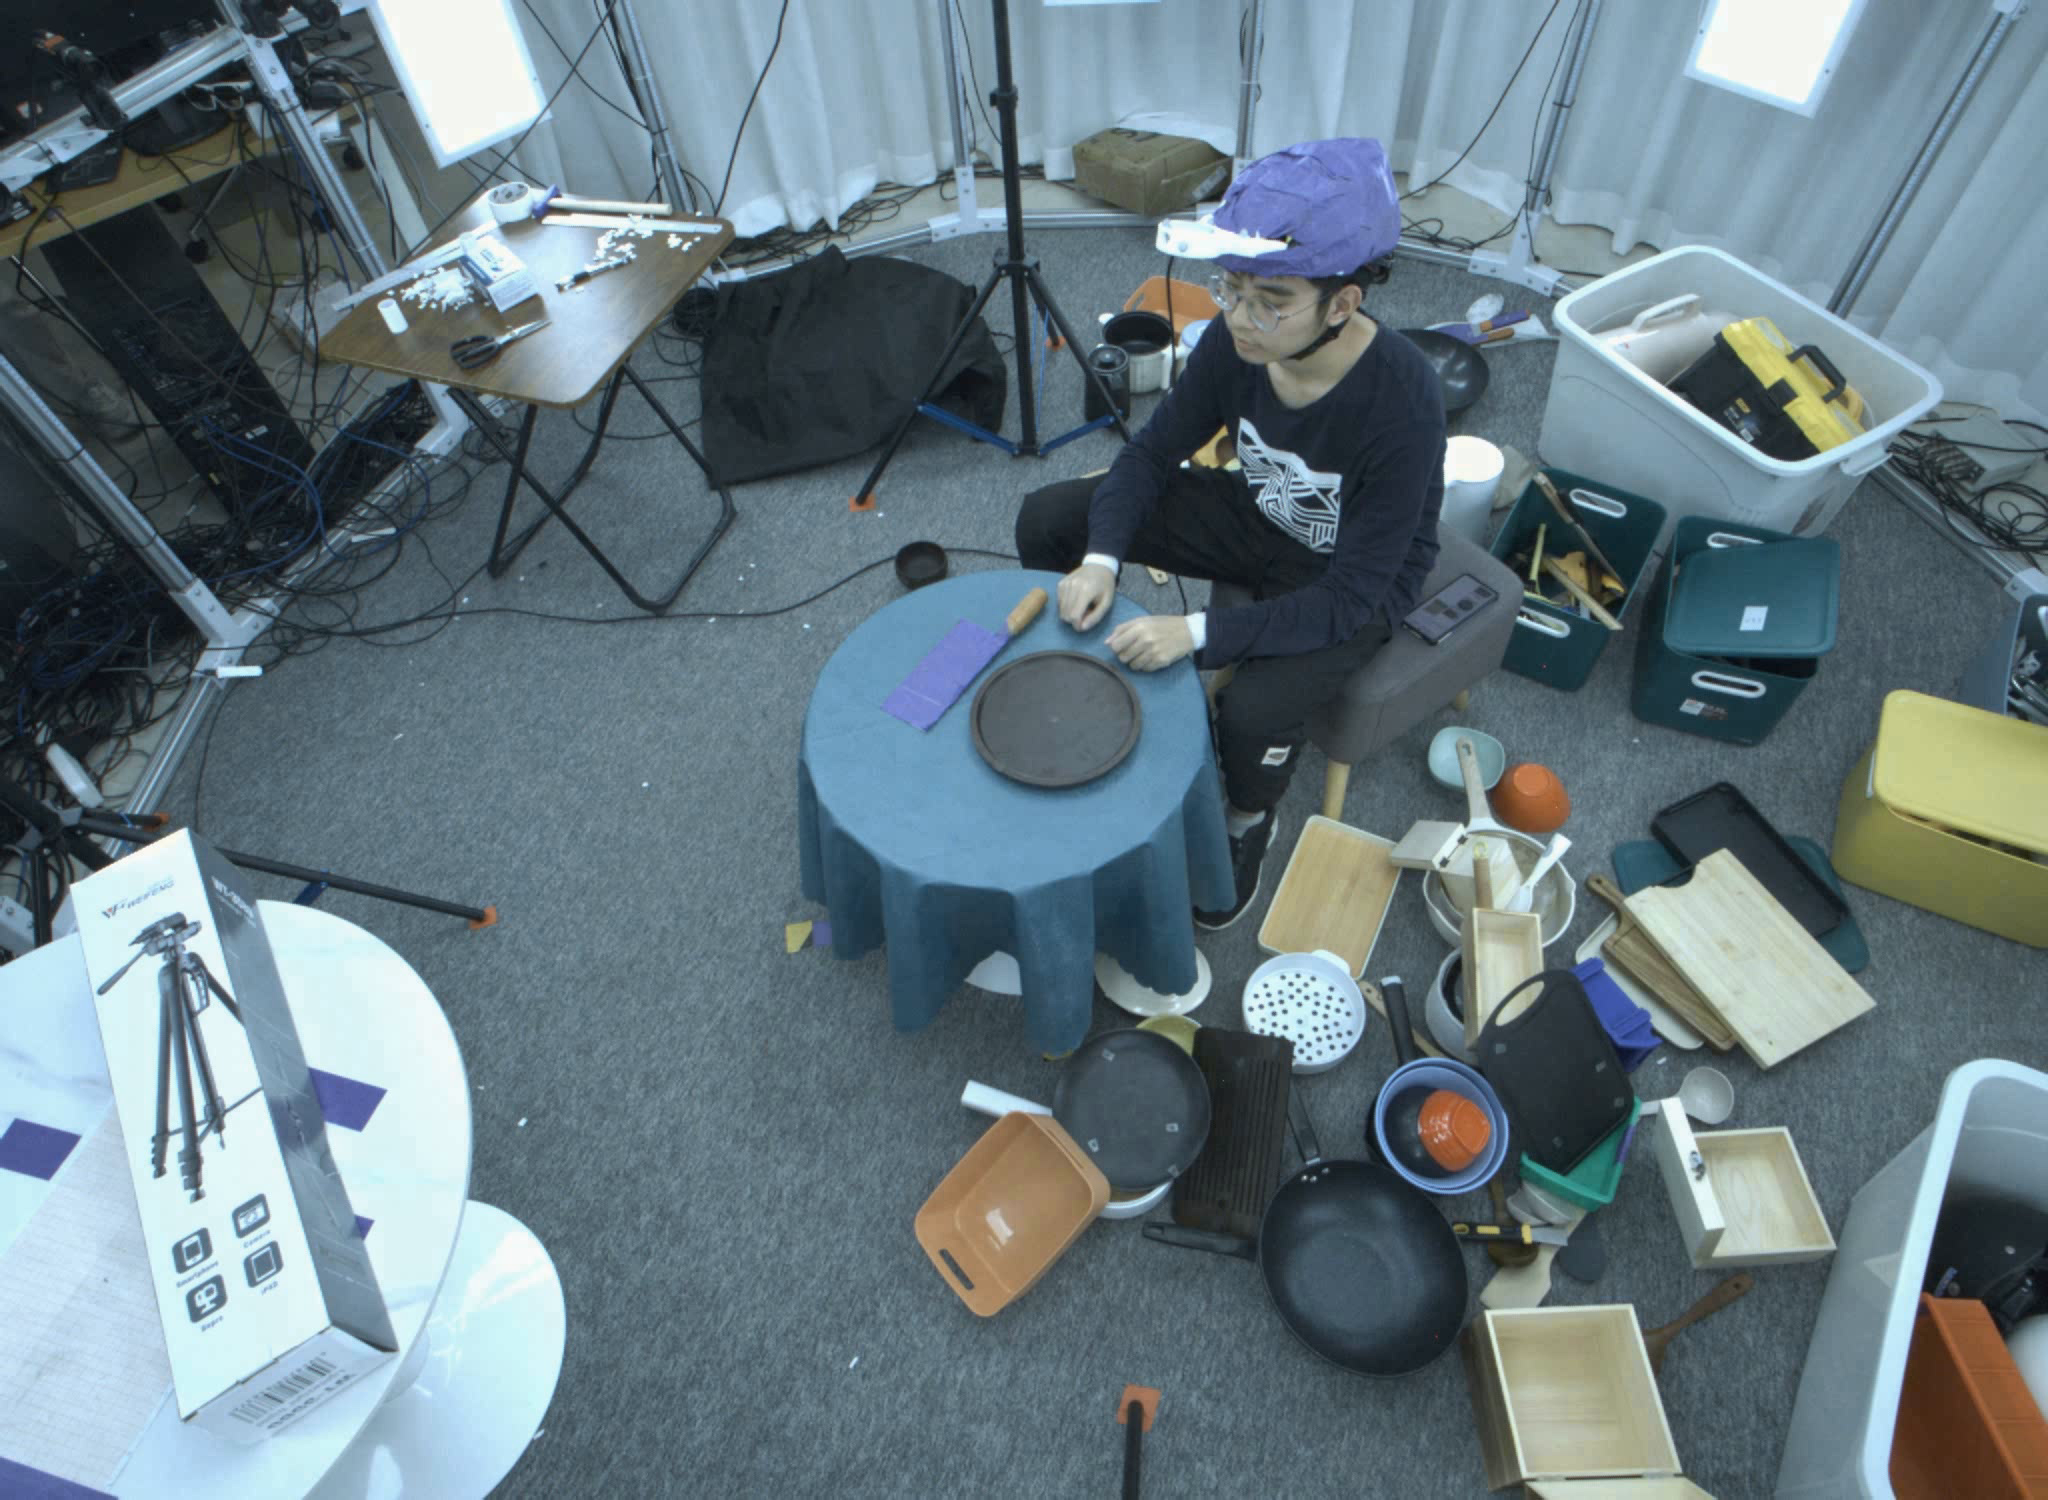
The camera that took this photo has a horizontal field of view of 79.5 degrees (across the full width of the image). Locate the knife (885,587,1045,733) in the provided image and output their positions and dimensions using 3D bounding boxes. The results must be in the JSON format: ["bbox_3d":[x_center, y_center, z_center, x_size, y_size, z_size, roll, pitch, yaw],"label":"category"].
[{"bbox_3d":[-0.092,-0.155,1.891,0.102,0.032,0.316,29,61,20],"label":"knife"}]

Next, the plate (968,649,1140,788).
[{"bbox_3d":[0.044,-0.047,1.813,0.254,0.029,0.252,0,55,2],"label":"plate"}]
